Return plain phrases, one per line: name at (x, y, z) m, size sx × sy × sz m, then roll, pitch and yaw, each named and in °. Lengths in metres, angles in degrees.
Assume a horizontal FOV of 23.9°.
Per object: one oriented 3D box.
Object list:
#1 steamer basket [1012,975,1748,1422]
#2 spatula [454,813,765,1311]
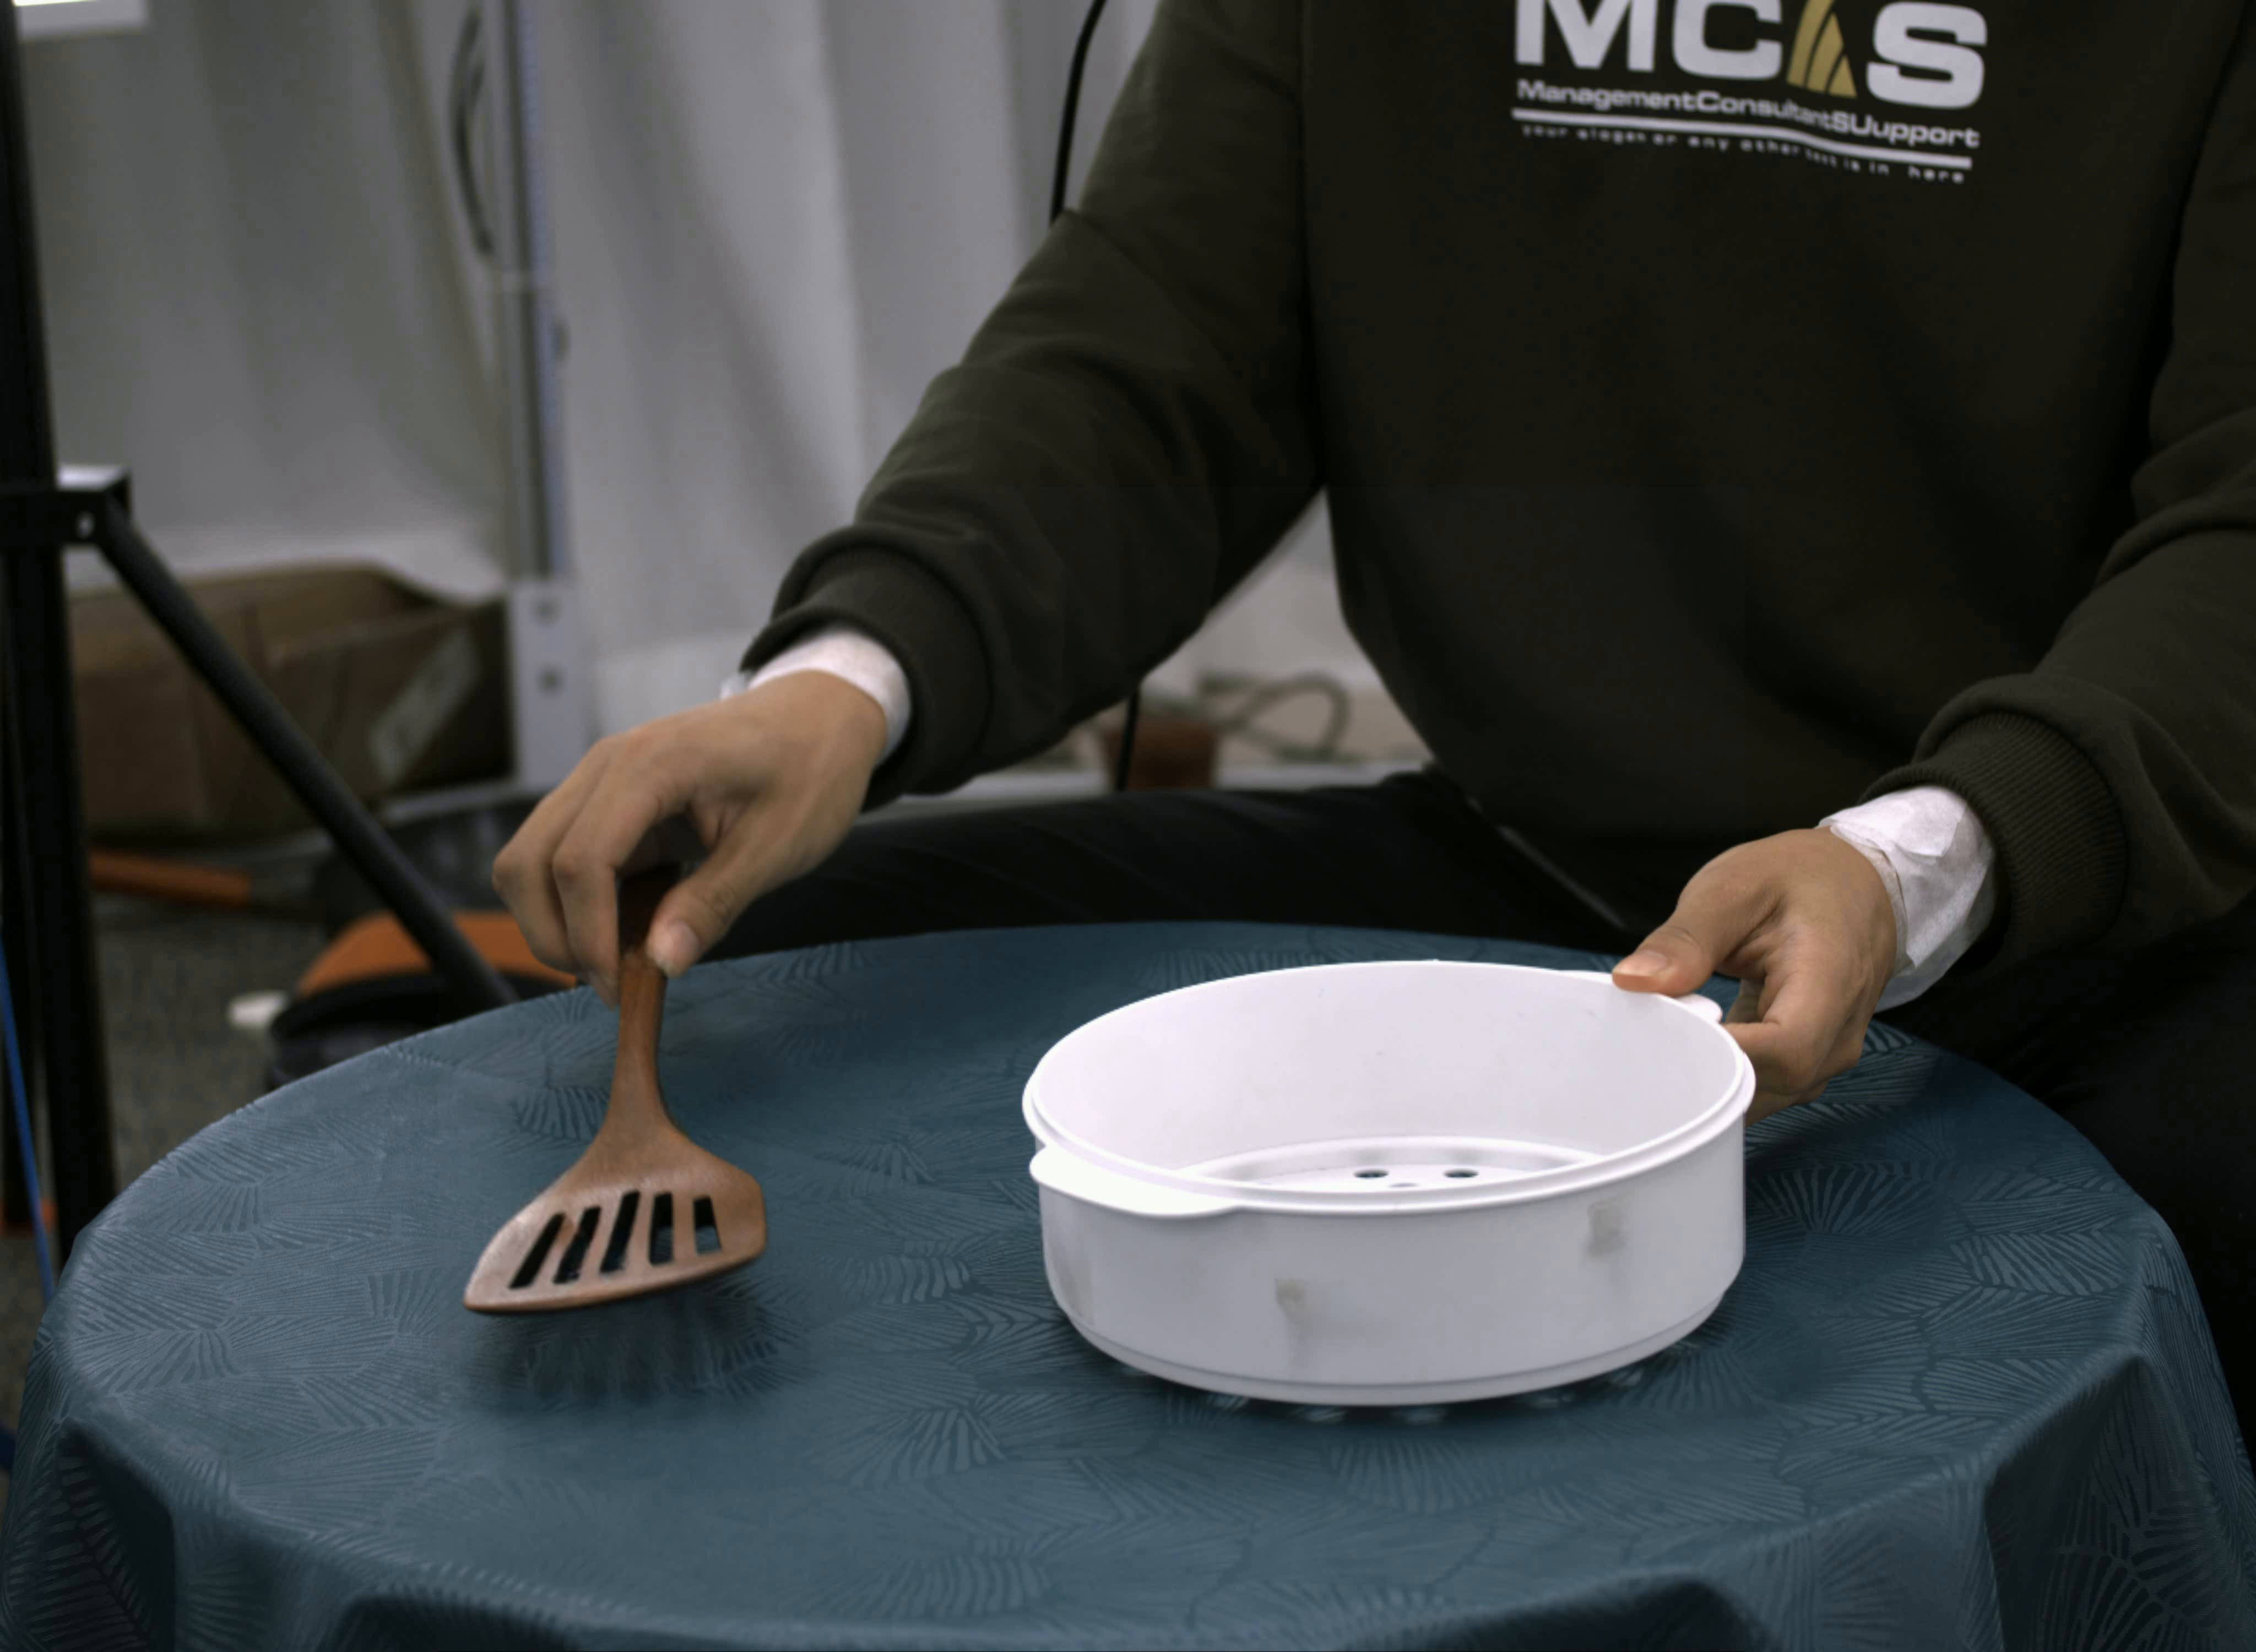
steamer basket at (0.068, 0.102, 1.455) m, size 0.225 × 0.069 × 0.206 m, roll -13°, pitch 21°, yaw -41°
spatula at (-0.148, 0.067, 1.604) m, size 0.085 × 0.023 × 0.388 m, roll -12°, pitch 20°, yaw 1°
